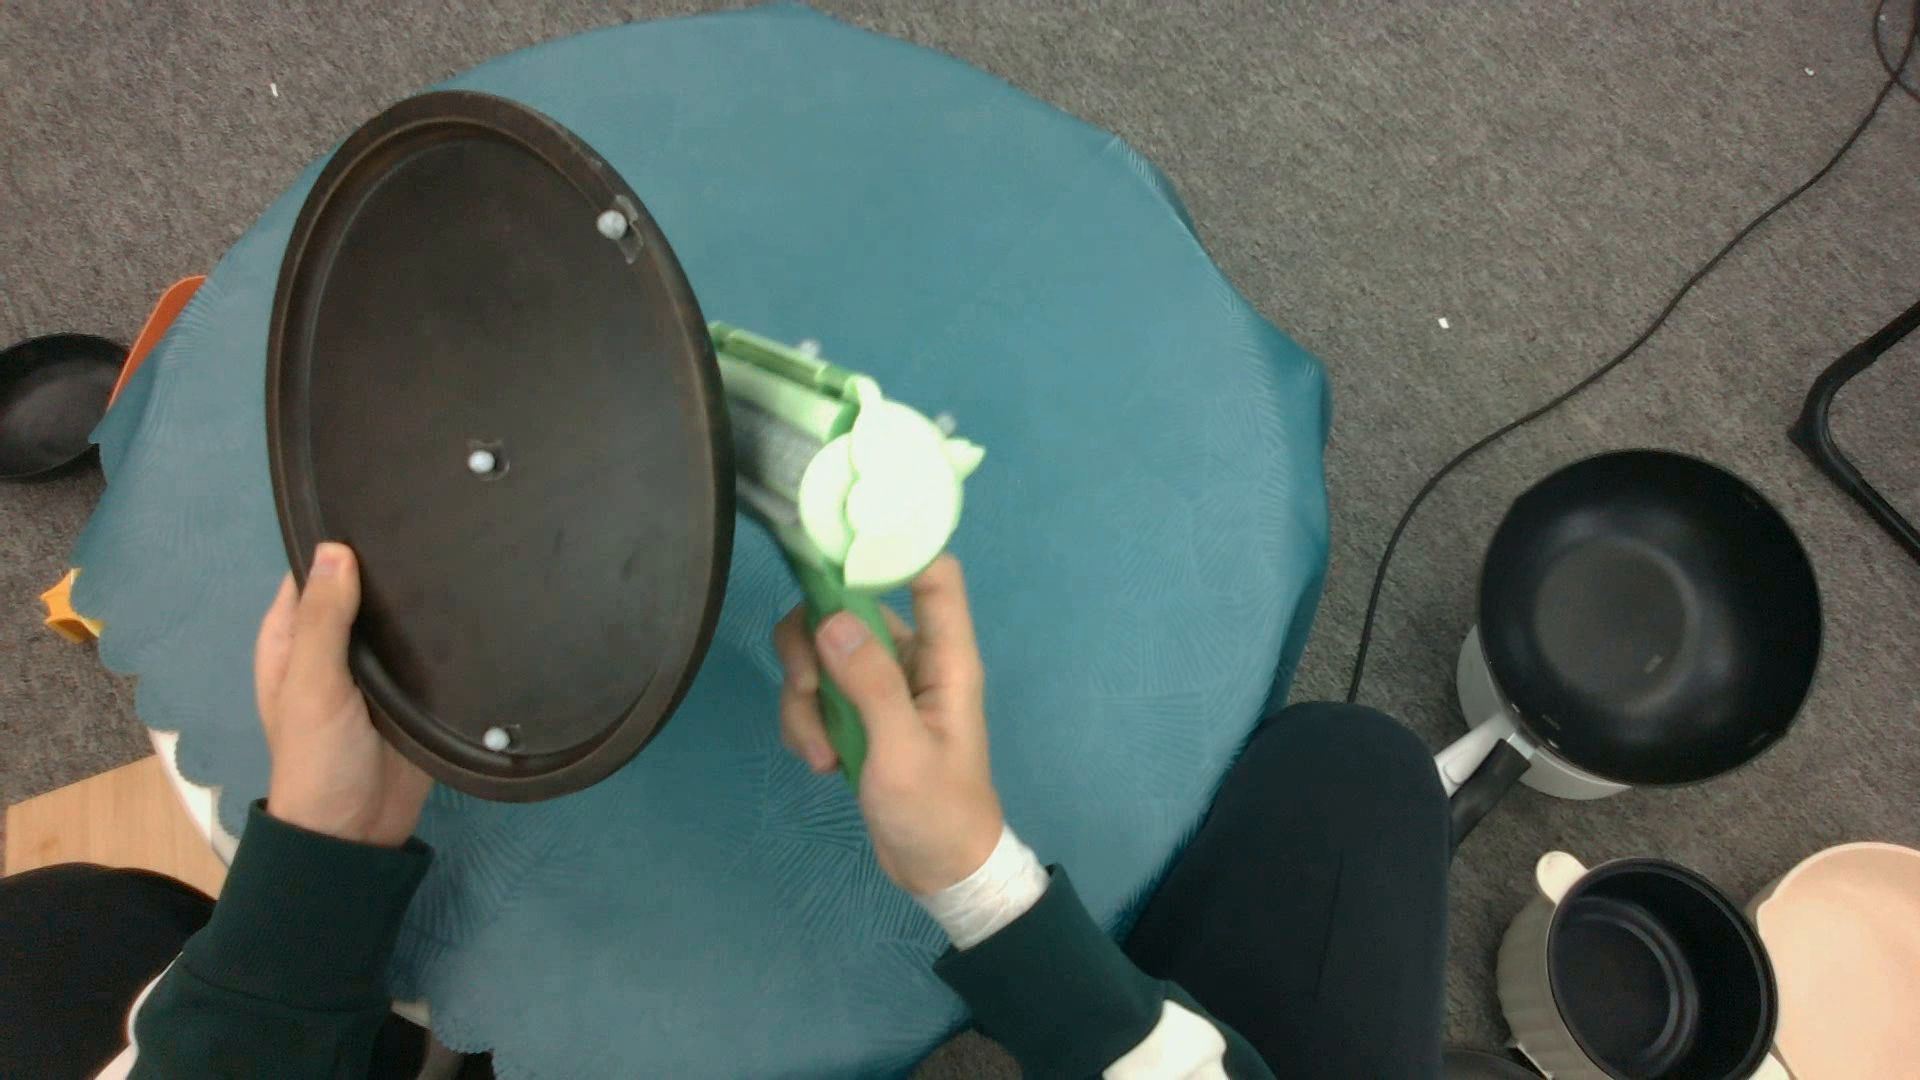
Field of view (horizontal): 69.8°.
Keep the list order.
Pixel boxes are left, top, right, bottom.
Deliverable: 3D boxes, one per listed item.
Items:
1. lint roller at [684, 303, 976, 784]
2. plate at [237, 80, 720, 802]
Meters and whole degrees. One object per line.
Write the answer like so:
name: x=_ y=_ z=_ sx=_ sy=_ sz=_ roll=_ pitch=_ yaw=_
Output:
lint roller: x=-0.039 y=0.002 z=0.517 sx=0.082 sy=0.198 sz=0.183 roll=-30 pitch=114 yaw=-16
plate: x=-0.182 y=-0.033 z=0.498 sx=0.255 sy=0.253 sz=0.029 roll=50 pitch=29 yaw=15
